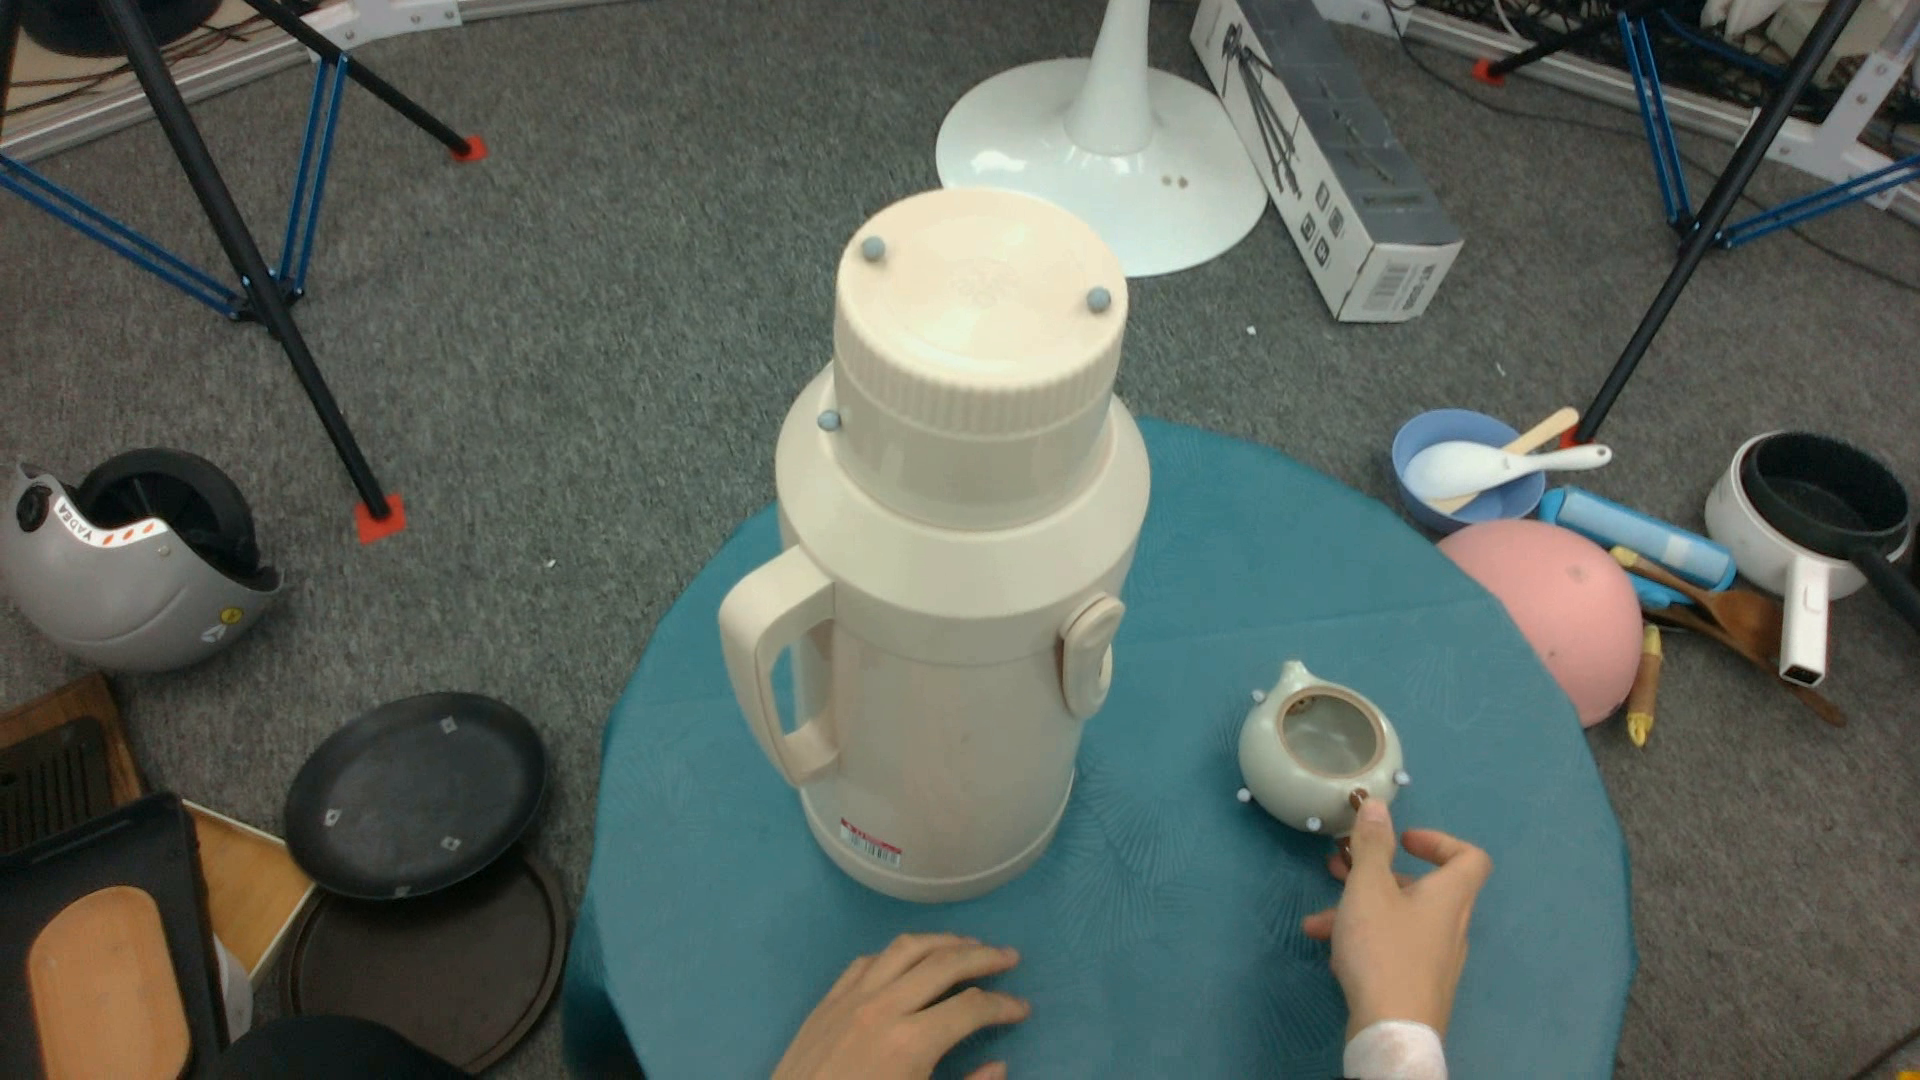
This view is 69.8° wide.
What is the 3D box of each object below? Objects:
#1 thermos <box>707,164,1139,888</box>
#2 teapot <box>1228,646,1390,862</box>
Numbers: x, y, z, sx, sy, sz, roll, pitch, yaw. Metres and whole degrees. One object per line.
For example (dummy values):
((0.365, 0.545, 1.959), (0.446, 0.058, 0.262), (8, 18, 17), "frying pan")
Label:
((-0.022, 0.022, 0.642), (0.208, 0.404, 0.175), (-34, 65, -26), "thermos")
((0.204, 0.125, 0.792), (0.092, 0.059, 0.128), (-10, 51, -14), "teapot")
